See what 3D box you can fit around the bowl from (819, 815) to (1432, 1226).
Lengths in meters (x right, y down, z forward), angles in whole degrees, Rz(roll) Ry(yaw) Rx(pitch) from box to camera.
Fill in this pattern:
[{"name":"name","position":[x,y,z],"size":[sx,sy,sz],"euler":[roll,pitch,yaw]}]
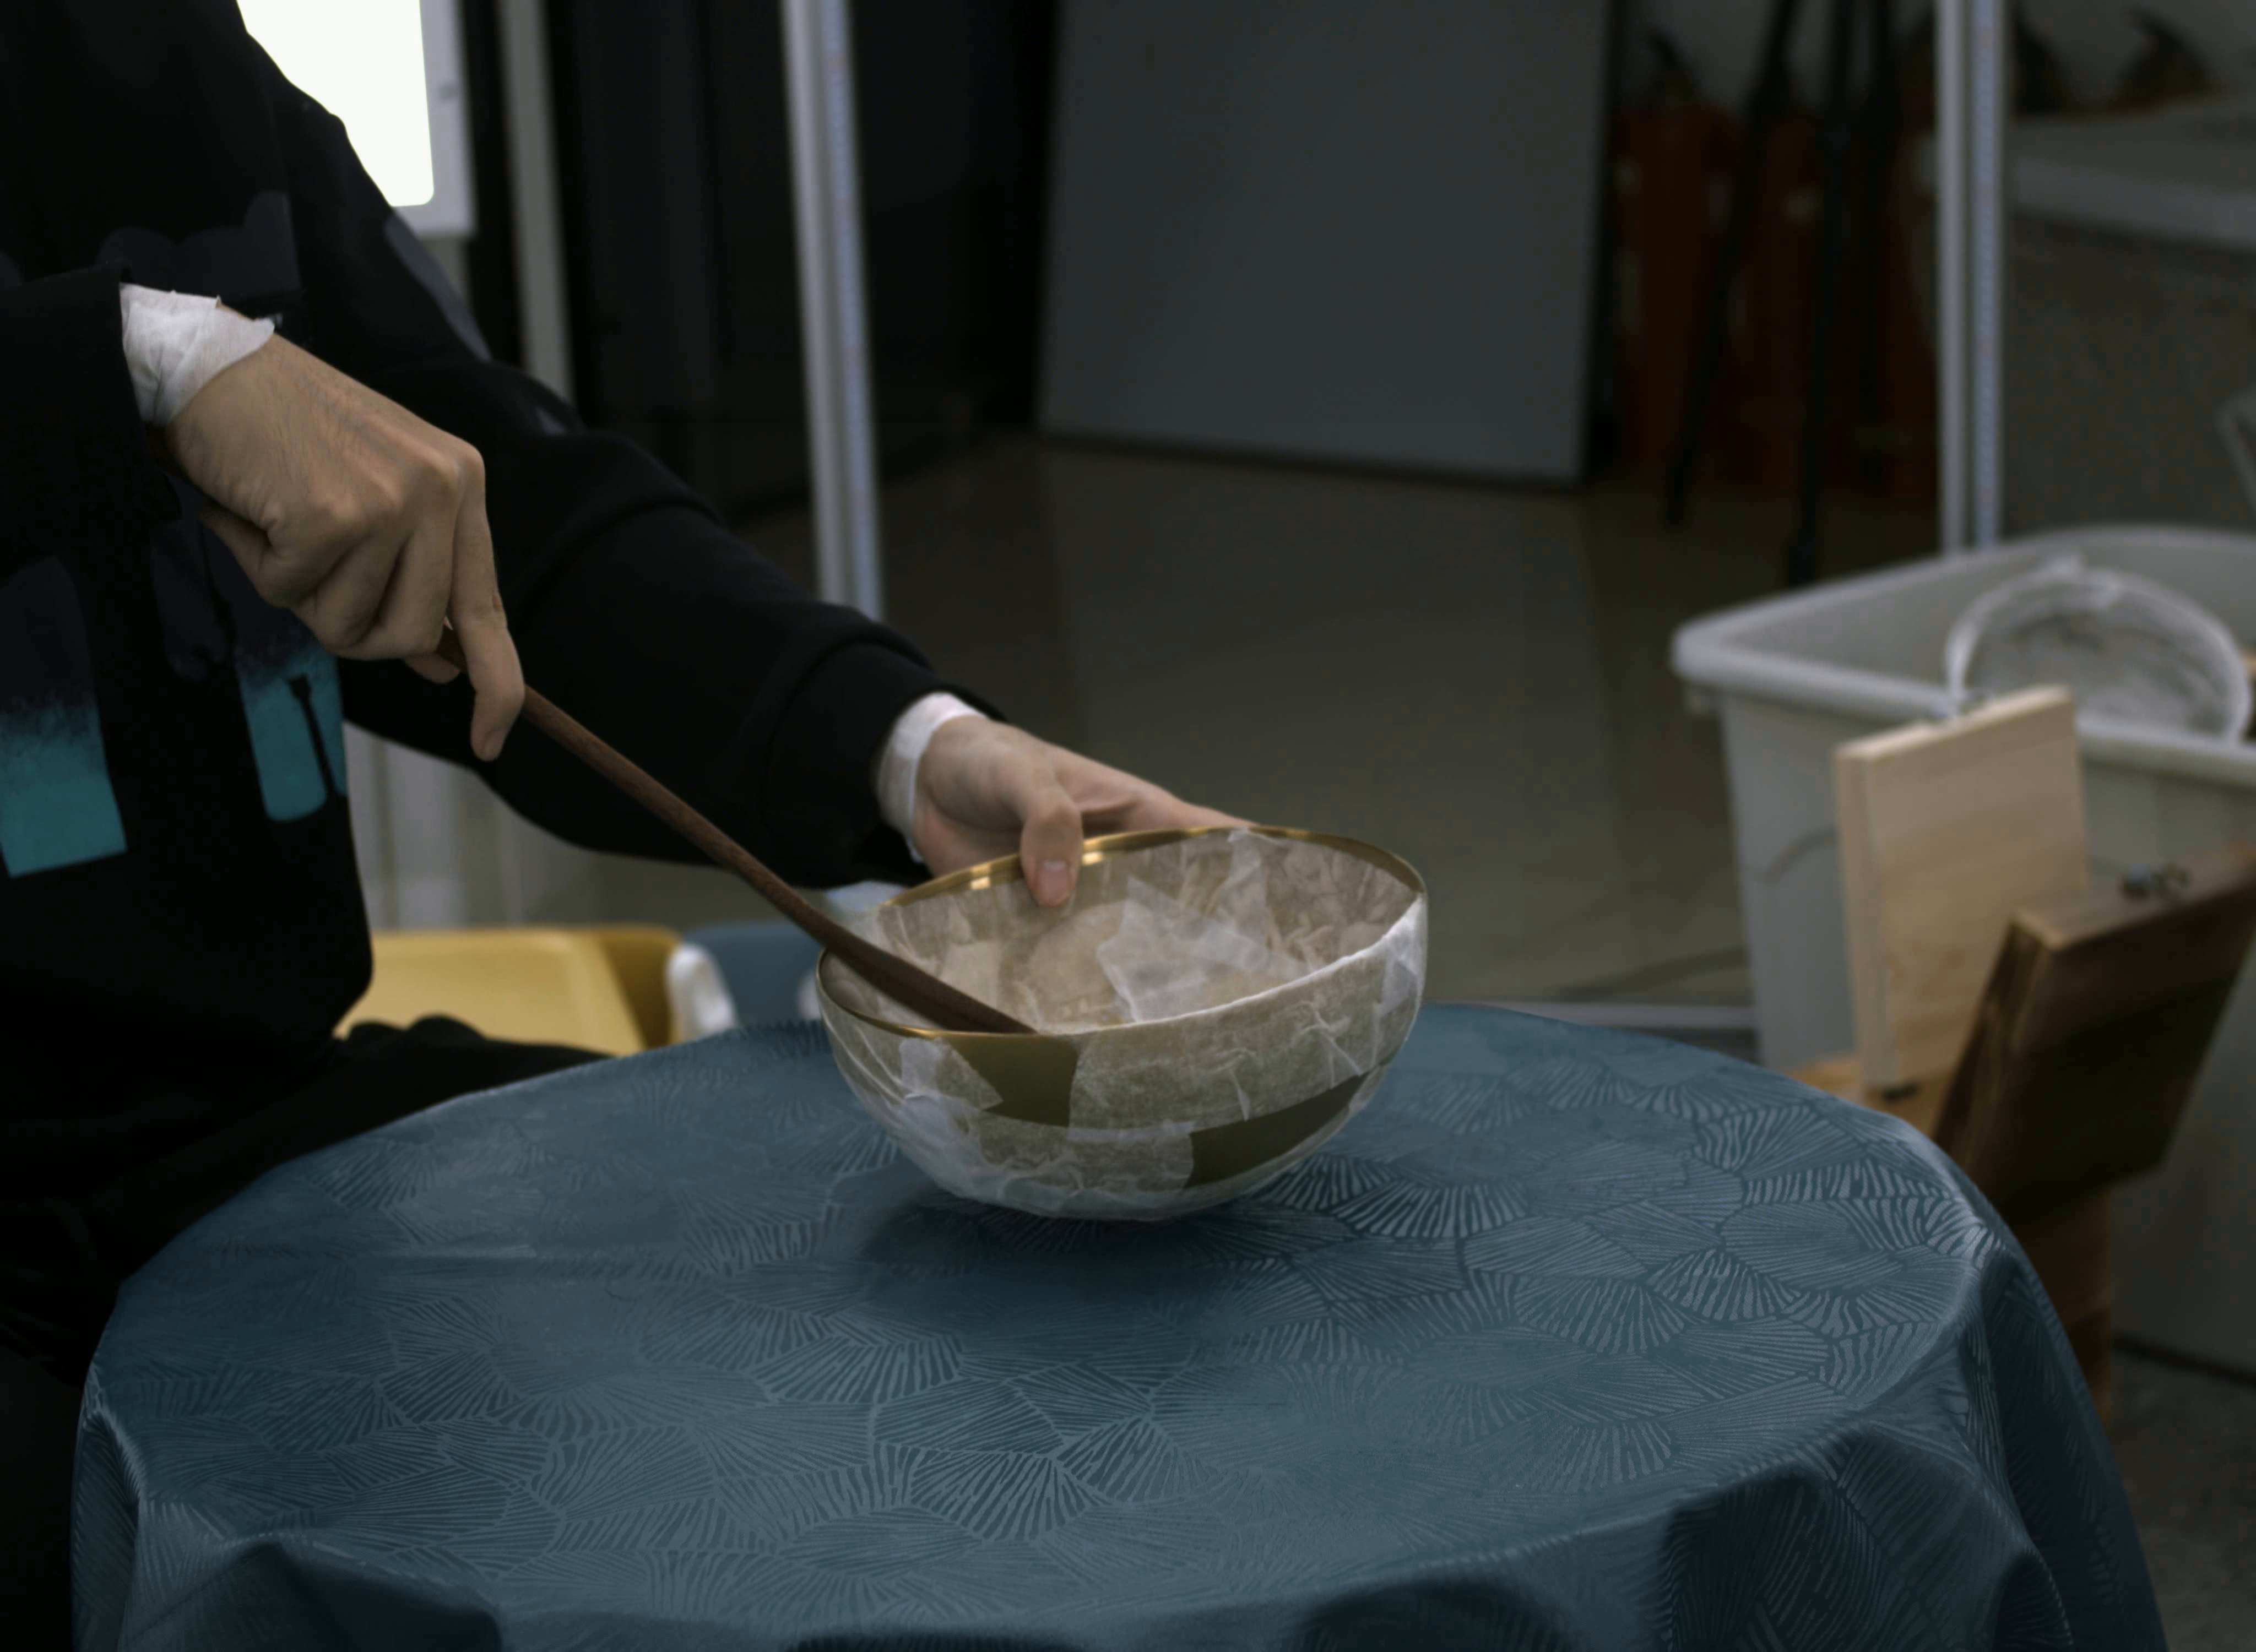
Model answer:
[{"name":"bowl","position":[0.004,0.072,1.748],"size":[0.212,0.095,0.215],"euler":[-11,16,2]}]

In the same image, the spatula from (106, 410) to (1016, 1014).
[{"name":"spatula","position":[-0.162,-0.021,1.727],"size":[0.382,0.016,0.096],"euler":[36,-7,-11]}]
